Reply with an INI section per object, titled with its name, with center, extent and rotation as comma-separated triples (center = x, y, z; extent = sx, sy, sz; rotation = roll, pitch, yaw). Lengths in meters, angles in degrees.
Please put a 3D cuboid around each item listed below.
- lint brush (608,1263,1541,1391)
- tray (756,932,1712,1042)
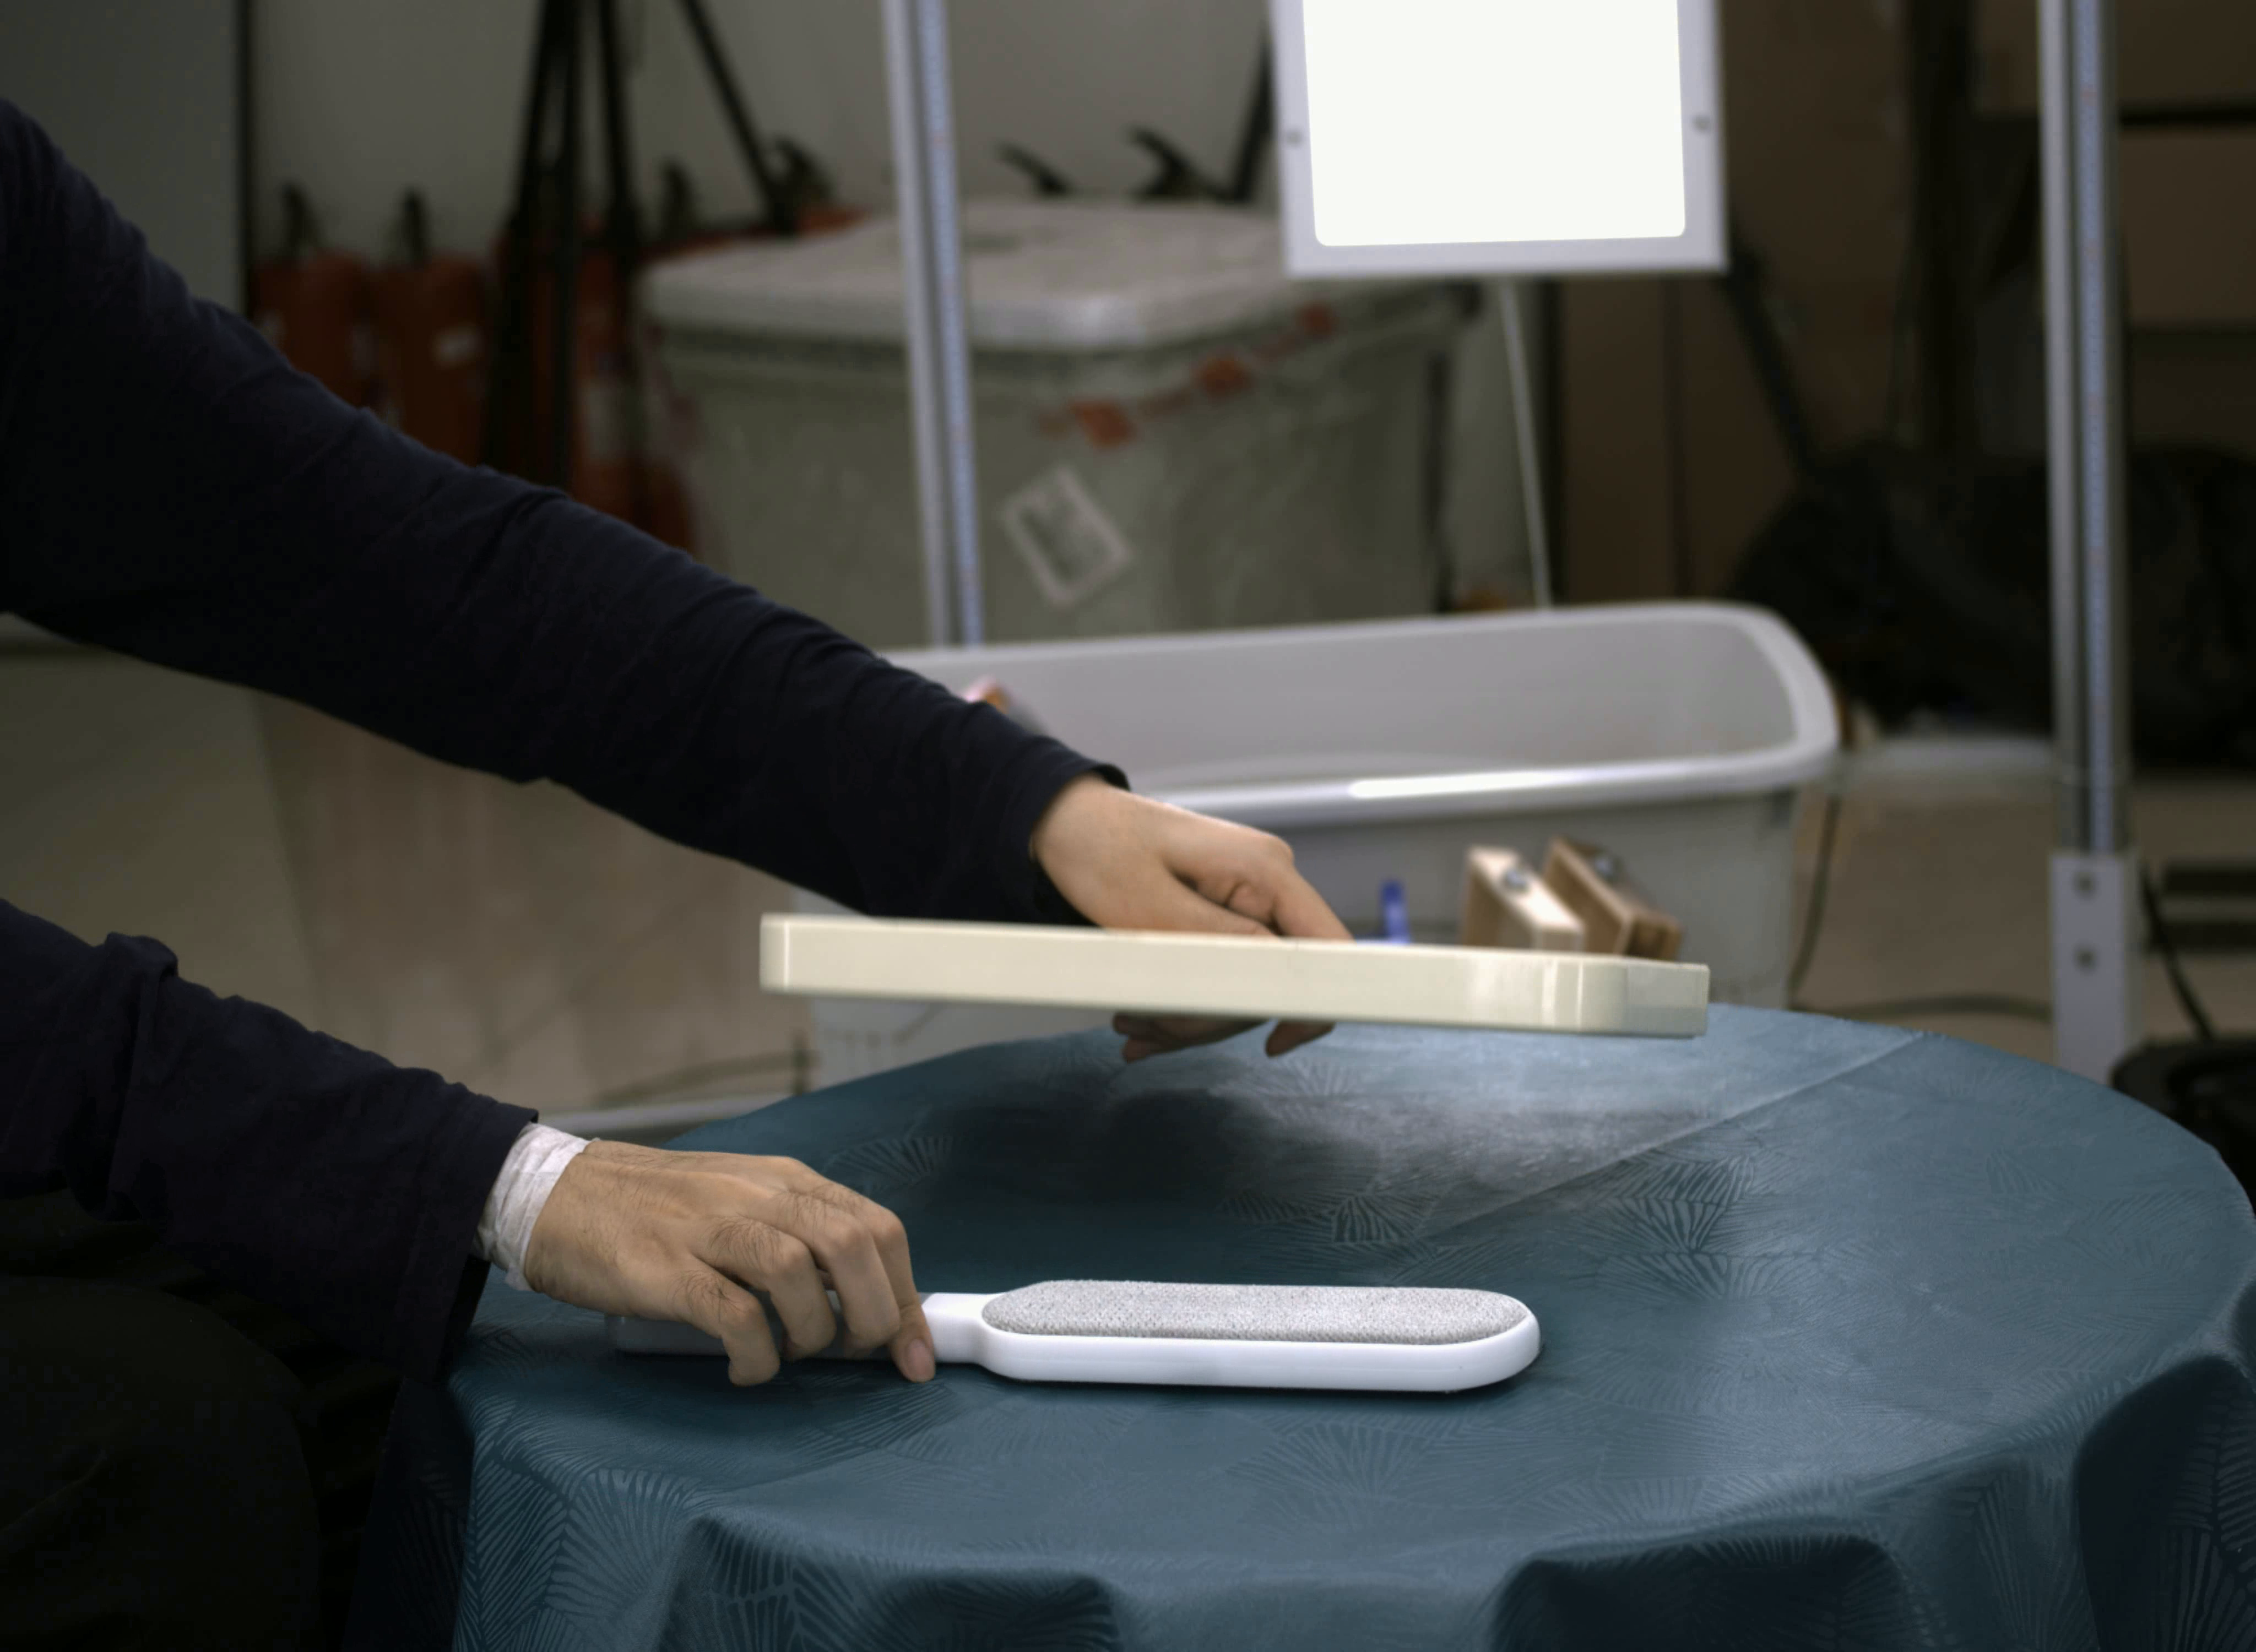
[lint brush]
center = -0.021, 0.155, 1.736
extent = 0.313, 0.021, 0.059
rotation = 0, 21, 21
[tray]
center = 0.039, 0.056, 1.896
extent = 0.304, 0.027, 0.188
rotation = 1, -2, 19
